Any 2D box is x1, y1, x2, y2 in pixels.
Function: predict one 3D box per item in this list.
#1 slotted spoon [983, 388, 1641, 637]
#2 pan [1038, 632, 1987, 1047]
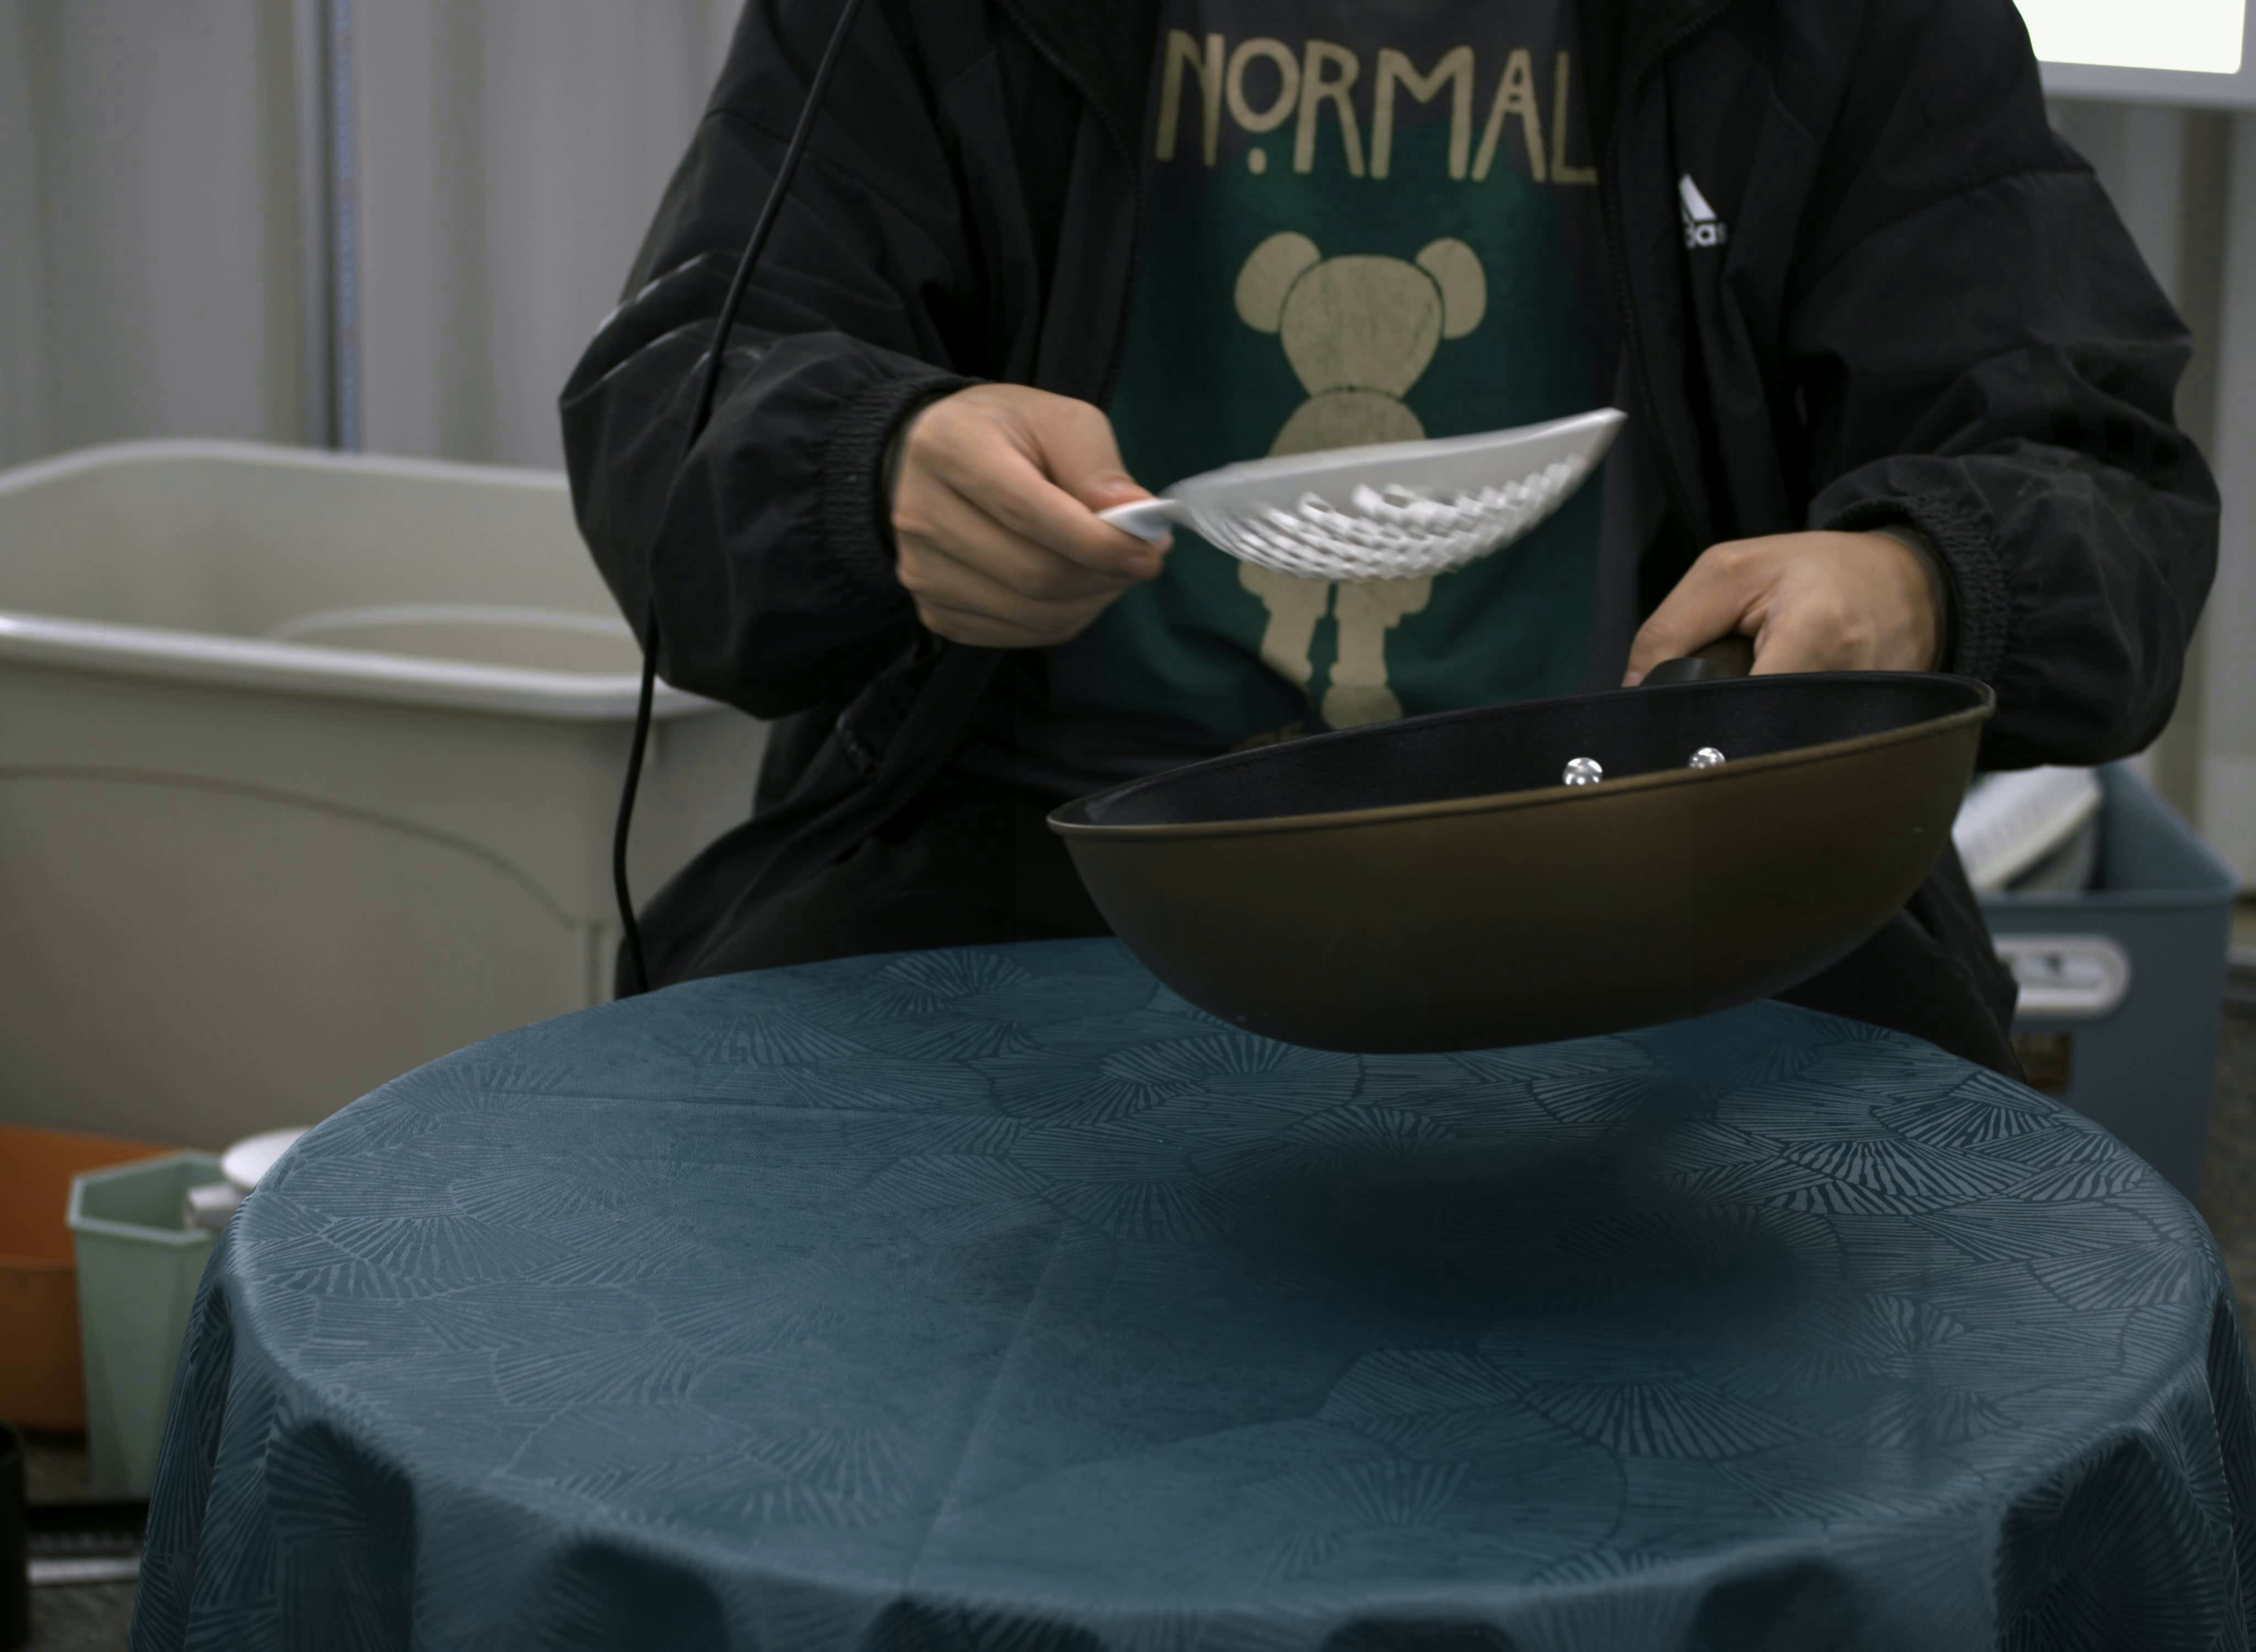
[{"bbox_3d":[0.038,-0.093,1.667,0.137,0.050,0.345,-14,6,-27],"label":"slotted spoon"},{"bbox_3d":[0.151,0.000,1.651,0.285,0.087,0.465,-6,5,22],"label":"pan"}]
